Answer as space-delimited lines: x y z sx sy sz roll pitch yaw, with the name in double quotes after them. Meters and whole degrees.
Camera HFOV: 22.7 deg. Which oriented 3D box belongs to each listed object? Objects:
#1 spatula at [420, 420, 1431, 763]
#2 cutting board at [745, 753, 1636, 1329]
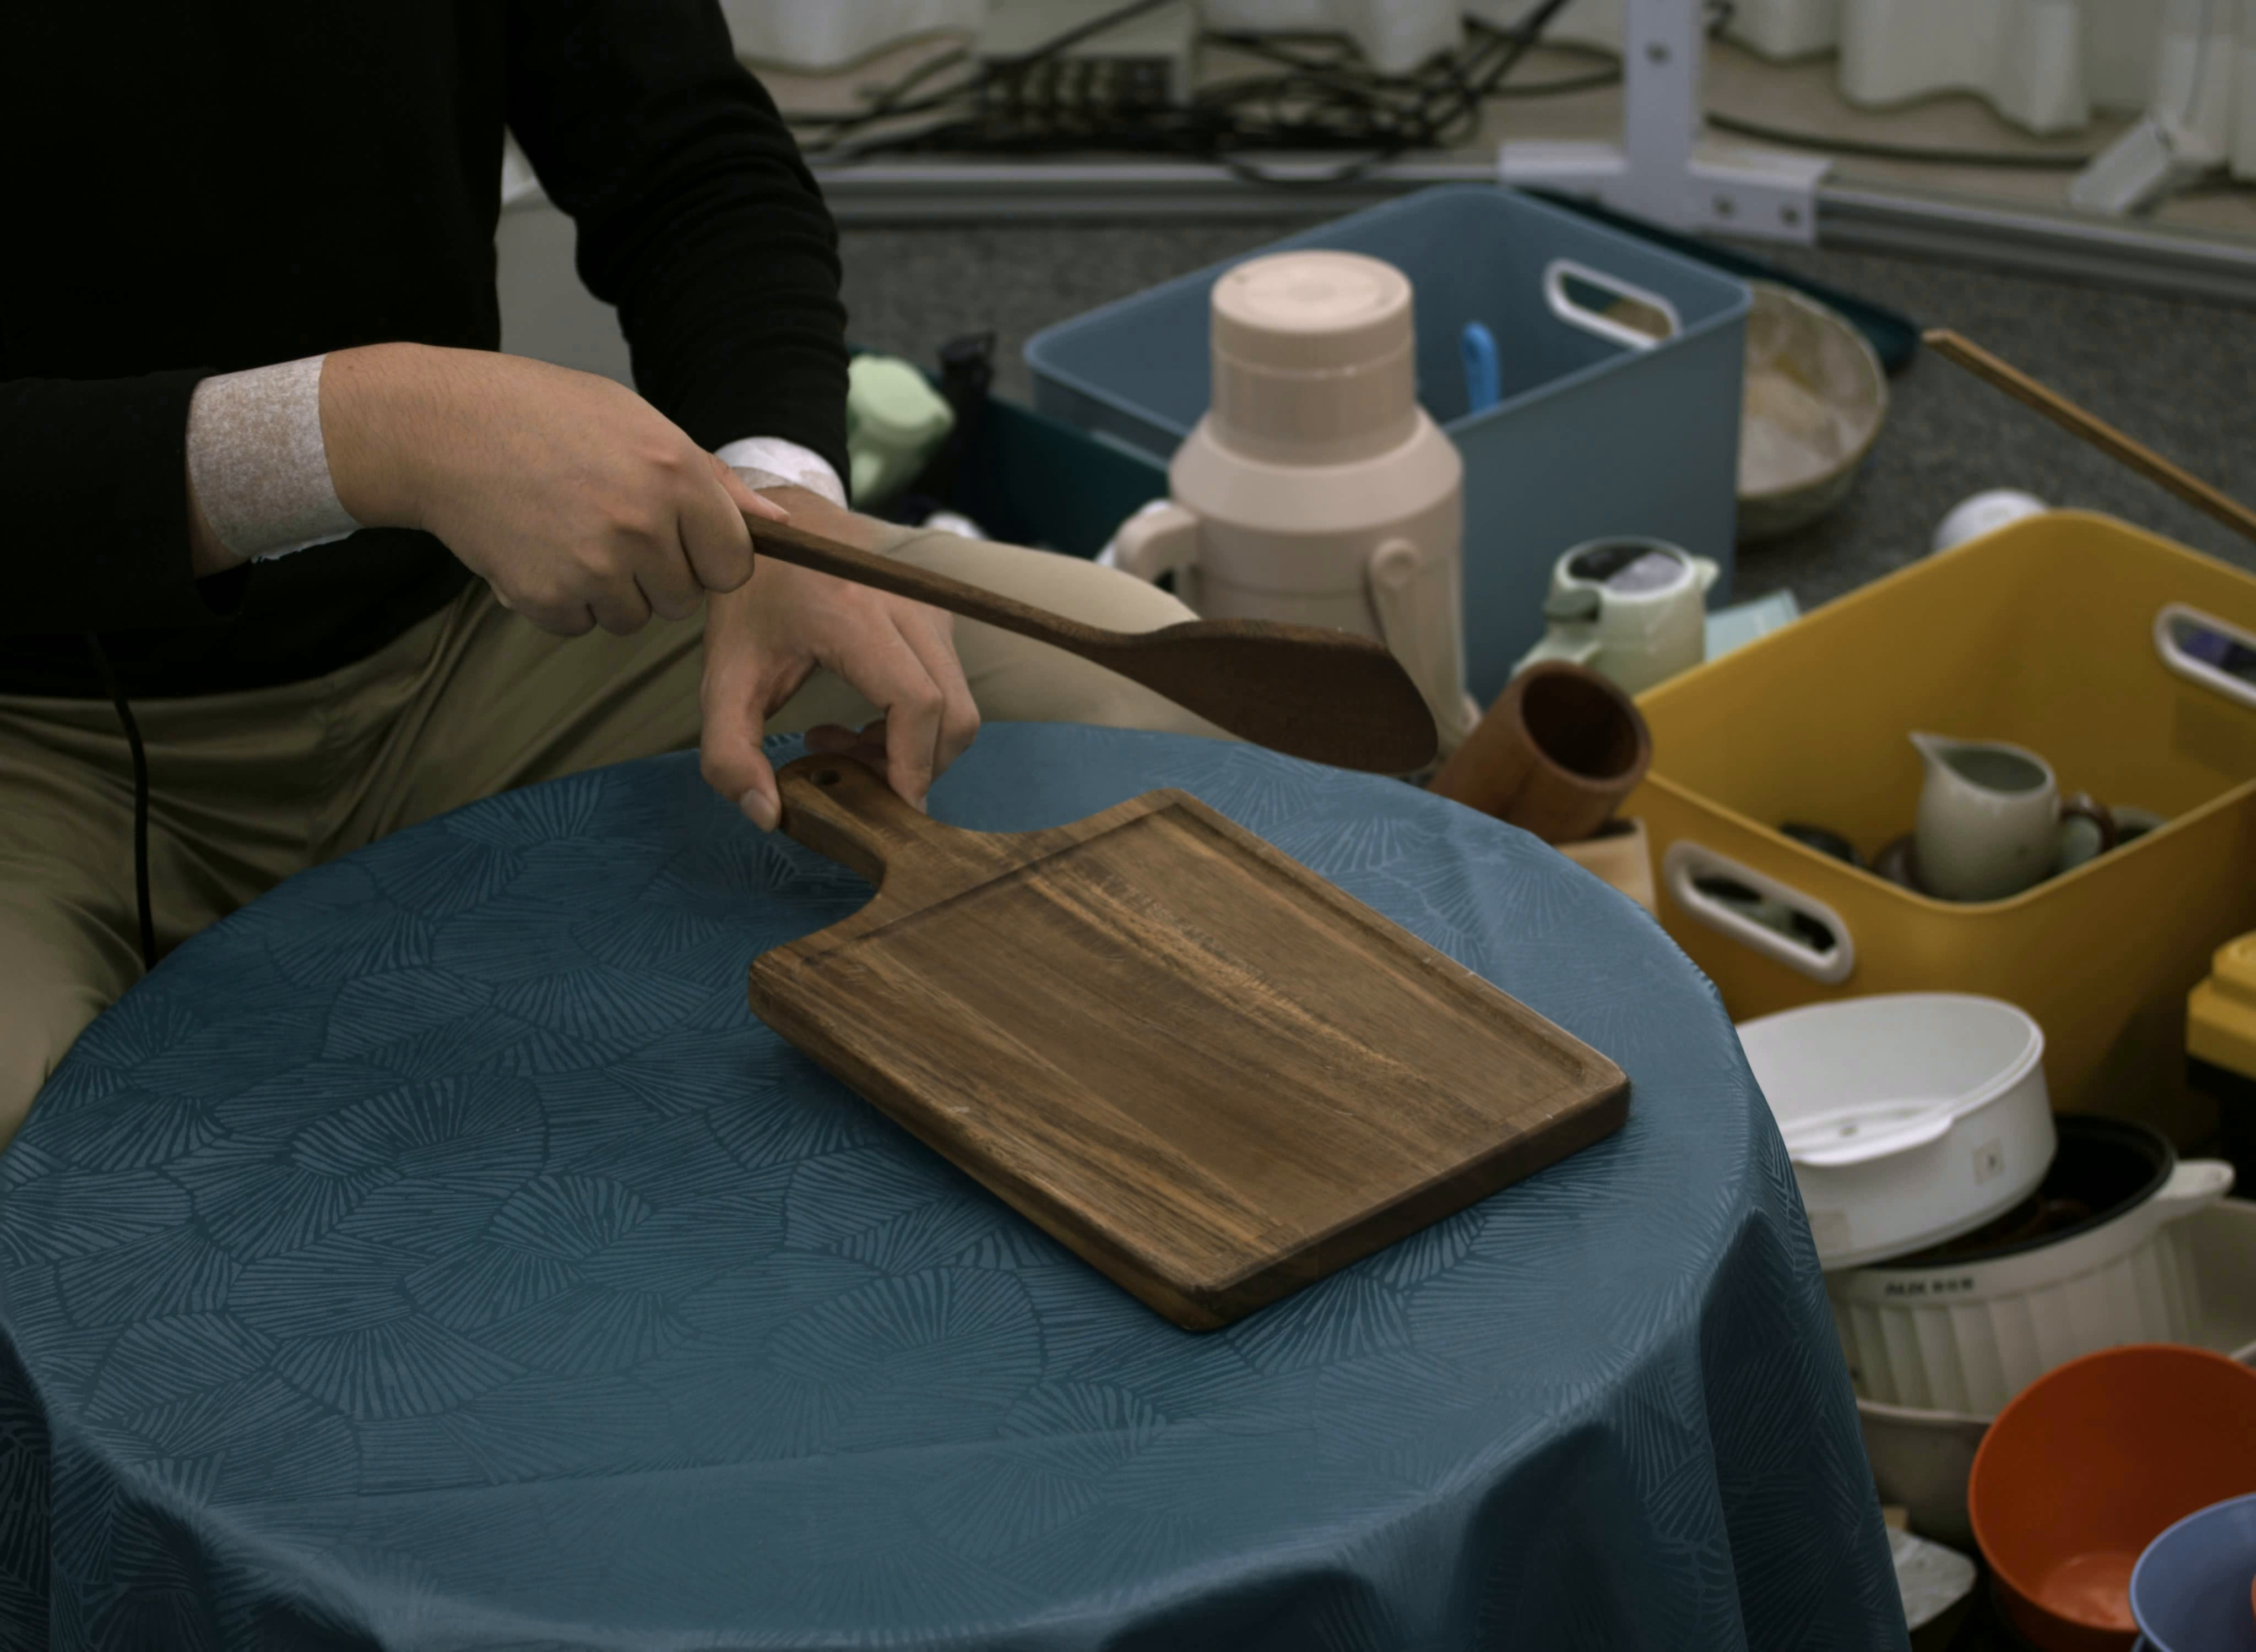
-0.075 -0.086 1.916 0.384 0.095 0.016 17 68 21 "spatula"
-0.012 0.053 1.943 0.203 0.023 0.353 -22 38 -34 "cutting board"
